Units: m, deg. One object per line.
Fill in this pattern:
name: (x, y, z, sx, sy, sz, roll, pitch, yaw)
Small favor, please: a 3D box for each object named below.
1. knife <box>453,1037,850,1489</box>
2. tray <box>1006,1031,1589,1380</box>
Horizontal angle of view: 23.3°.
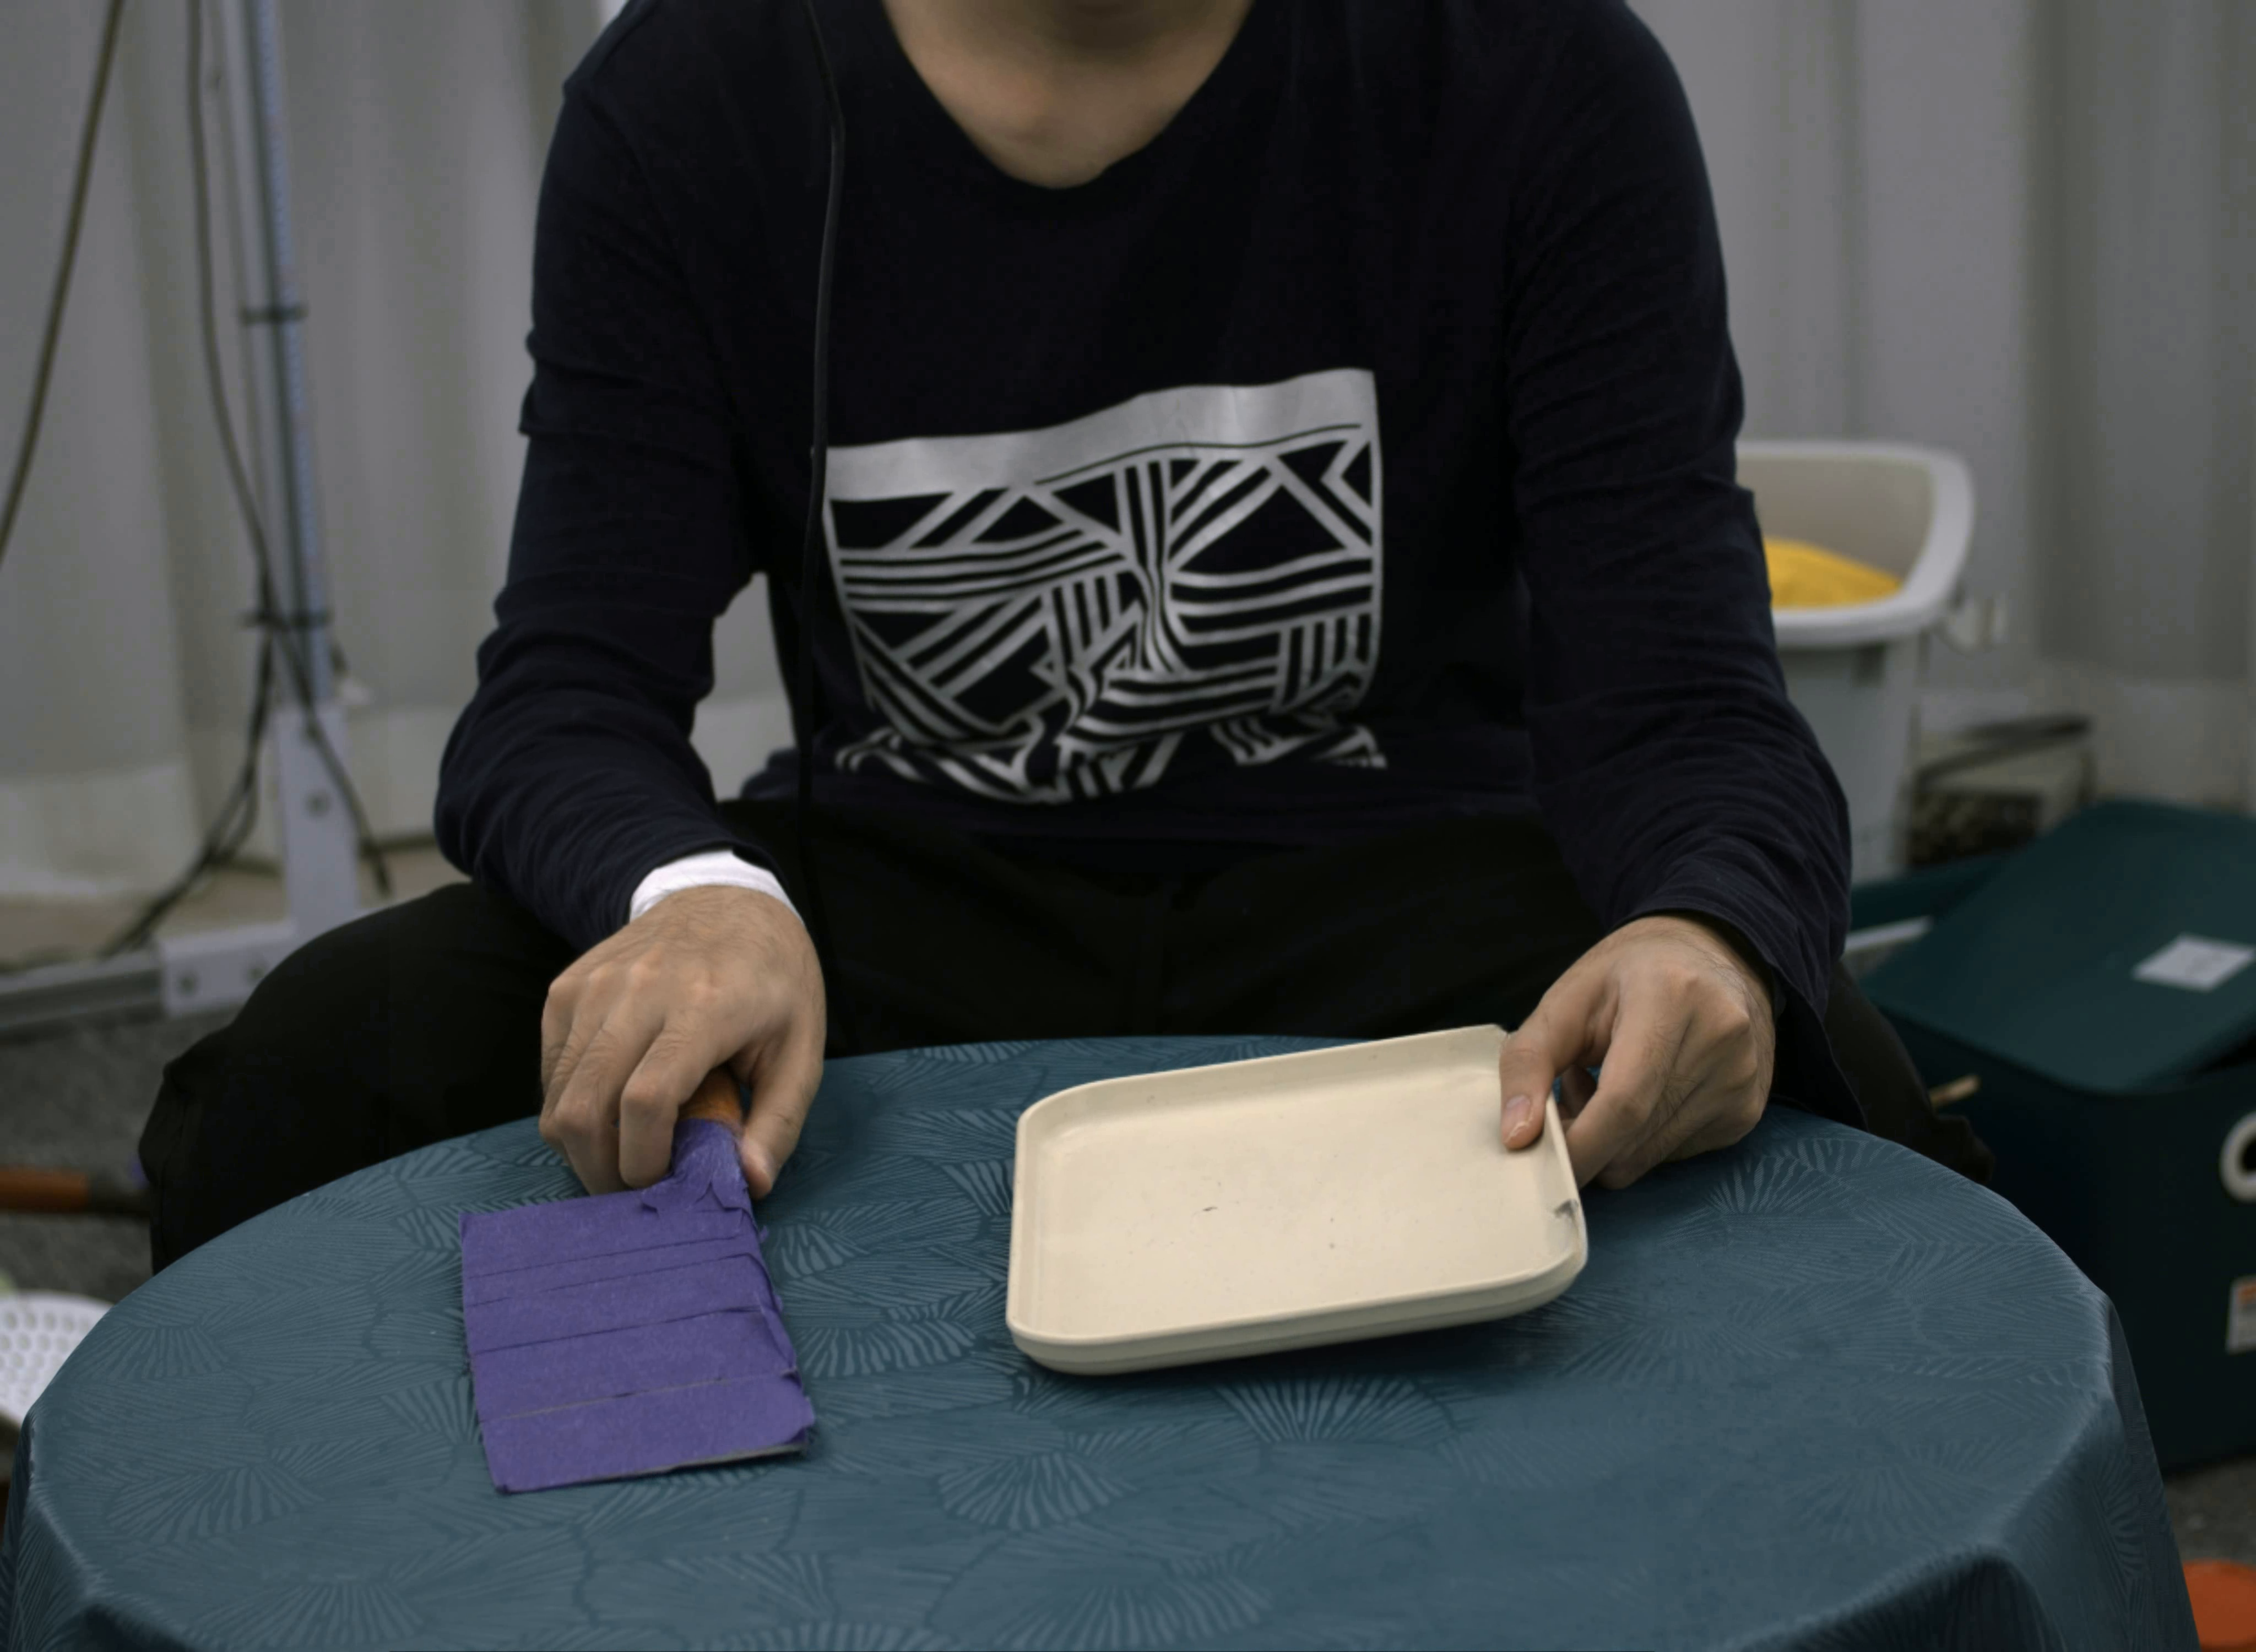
knife: (-0.153, 0.127, 1.641, 0.103, 0.032, 0.318, -7, 16, -8)
tray: (0.049, 0.113, 1.652, 0.171, 0.017, 0.241, -9, 15, 2)
